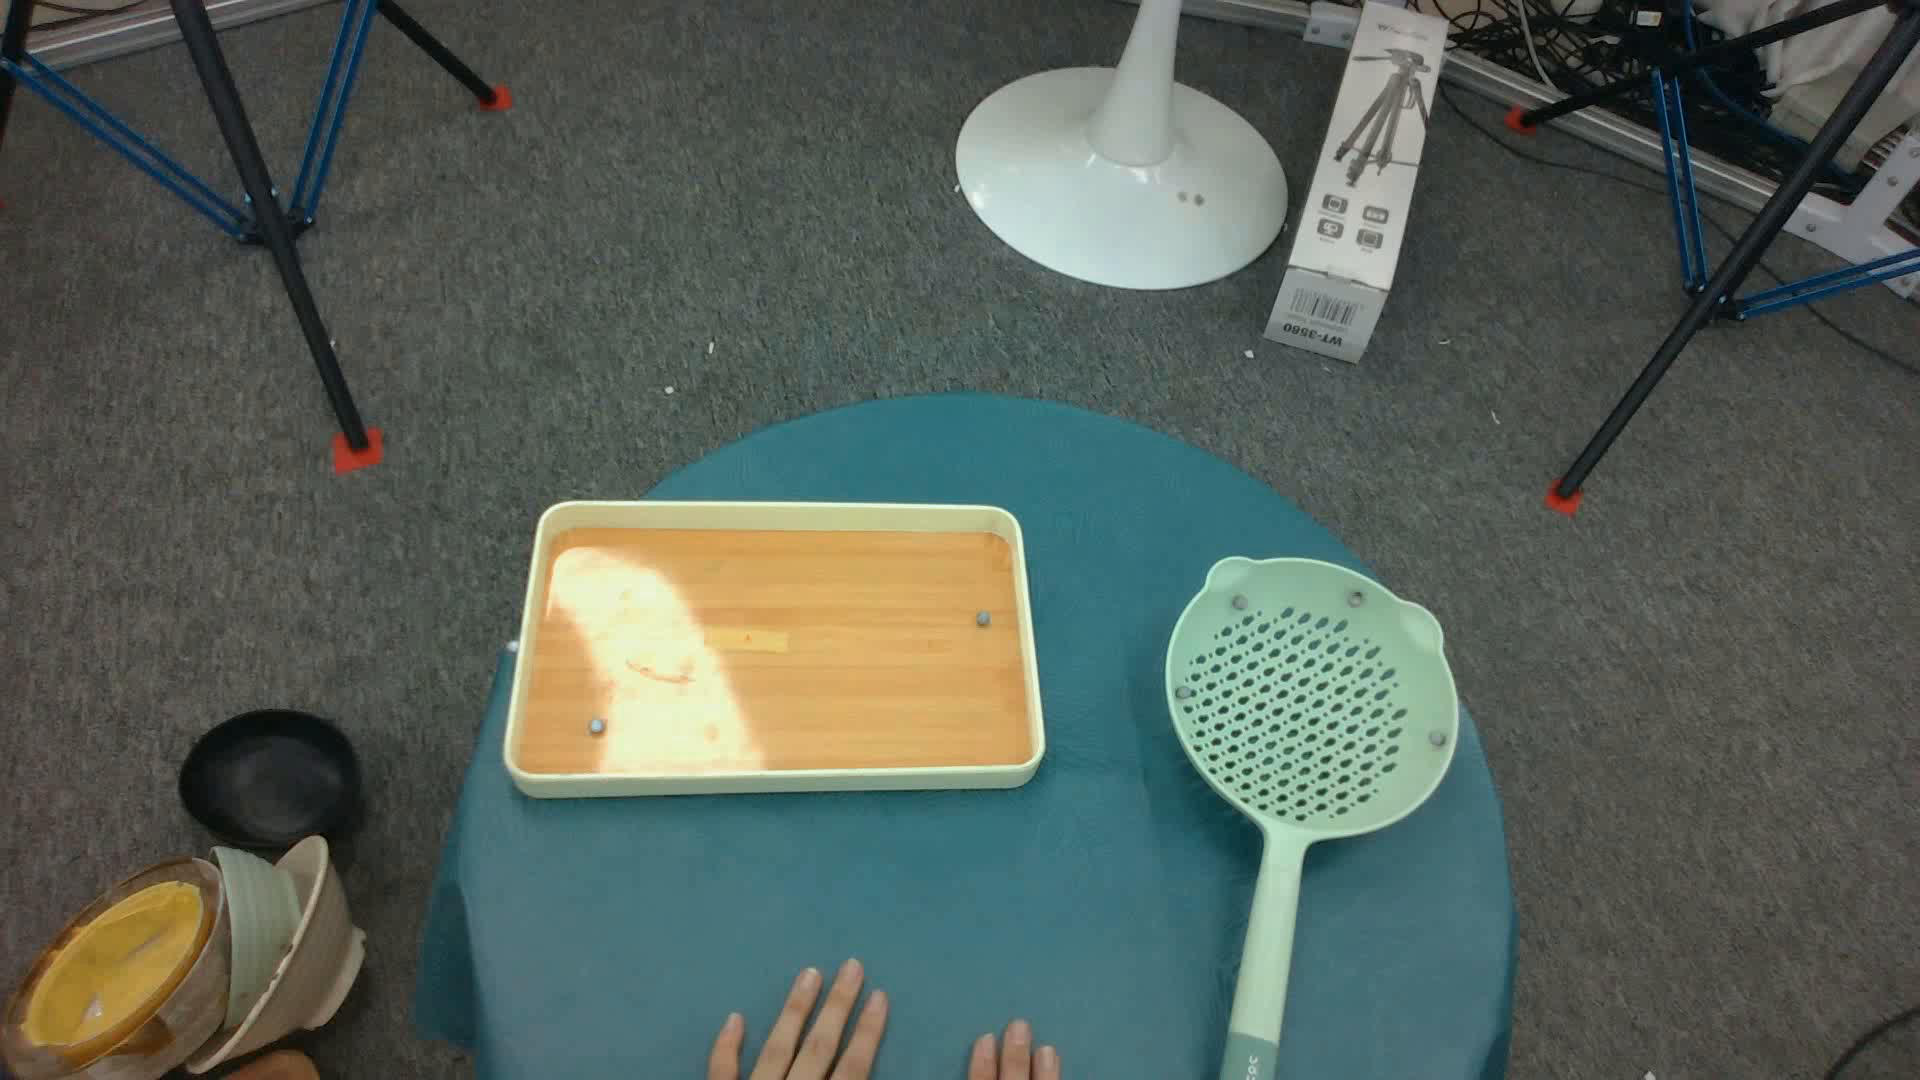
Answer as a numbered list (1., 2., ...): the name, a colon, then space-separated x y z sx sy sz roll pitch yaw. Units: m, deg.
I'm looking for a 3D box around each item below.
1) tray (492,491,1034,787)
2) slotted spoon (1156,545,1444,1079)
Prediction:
1. tray: -0.112 0.055 0.820 0.300 0.027 0.192 1 54 -7
2. slotted spoon: 0.169 0.166 0.756 0.169 0.075 0.360 16 53 4
